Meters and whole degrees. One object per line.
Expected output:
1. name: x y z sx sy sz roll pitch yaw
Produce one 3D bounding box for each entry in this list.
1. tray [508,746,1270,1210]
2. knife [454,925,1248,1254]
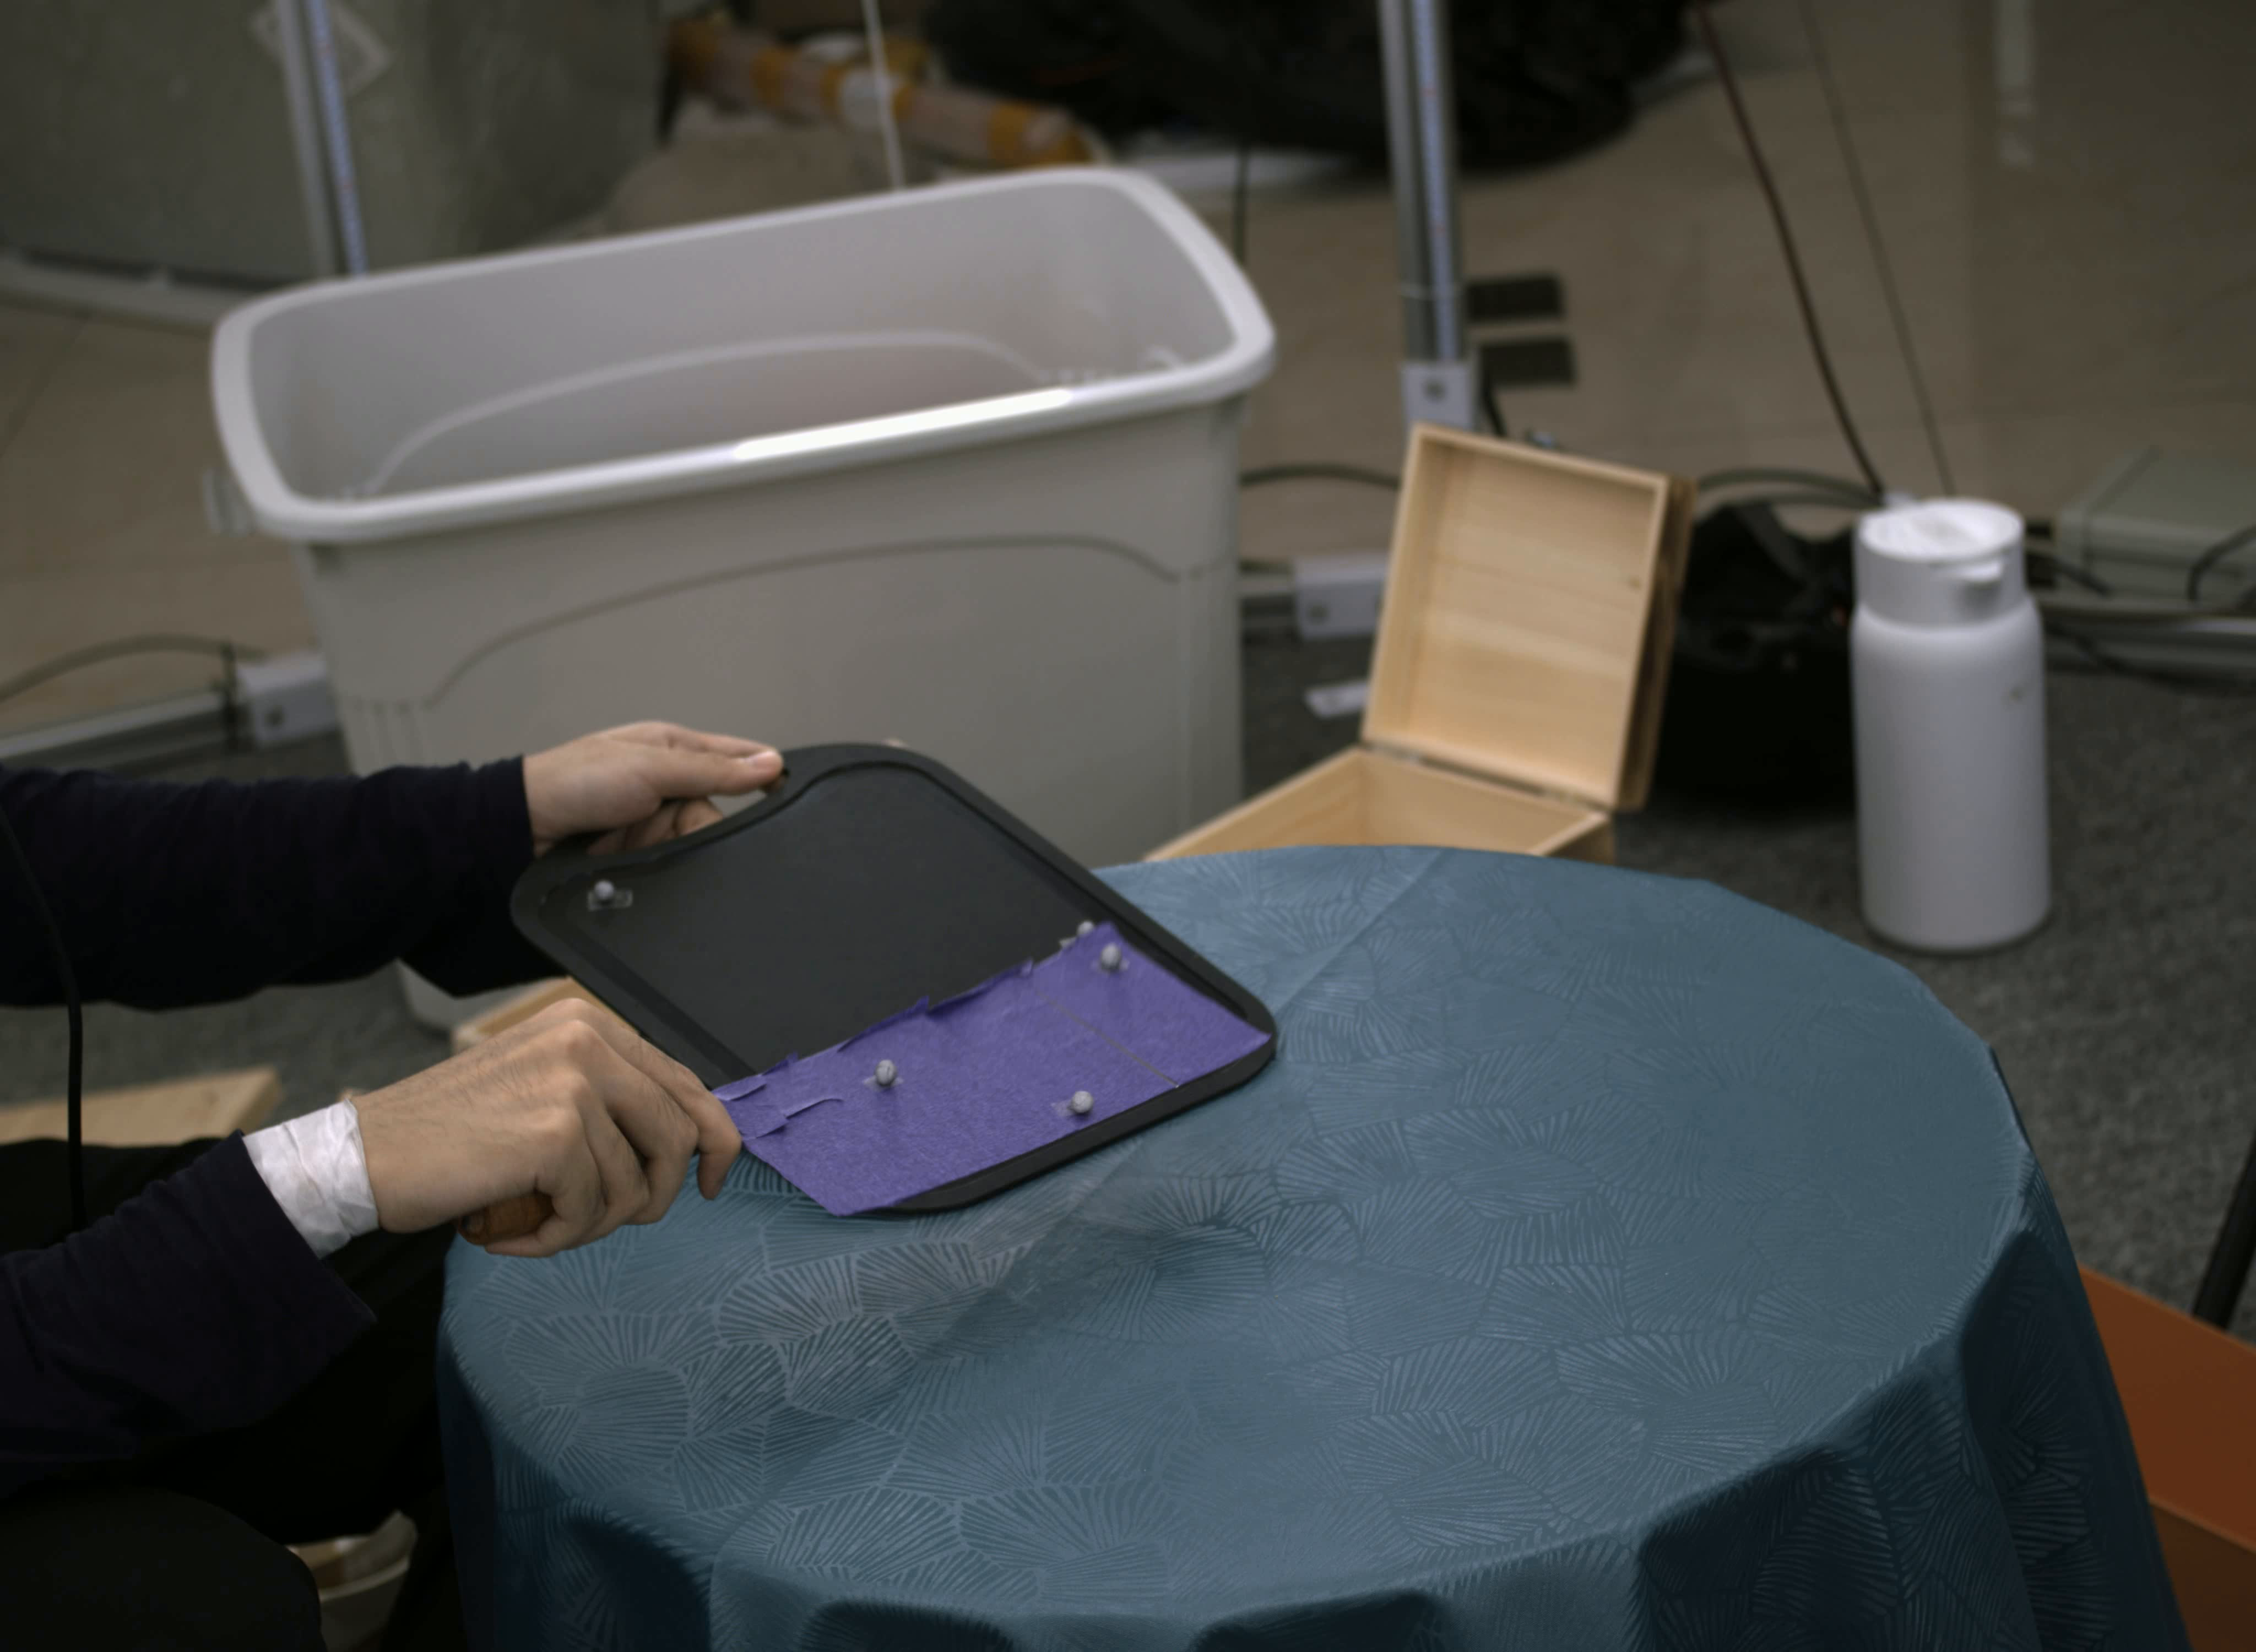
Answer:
1. tray: -0.105 0.052 2.291 0.210 0.010 0.321 -22 39 -29
2. knife: -0.091 0.101 2.040 0.313 0.033 0.103 -22 38 -37
